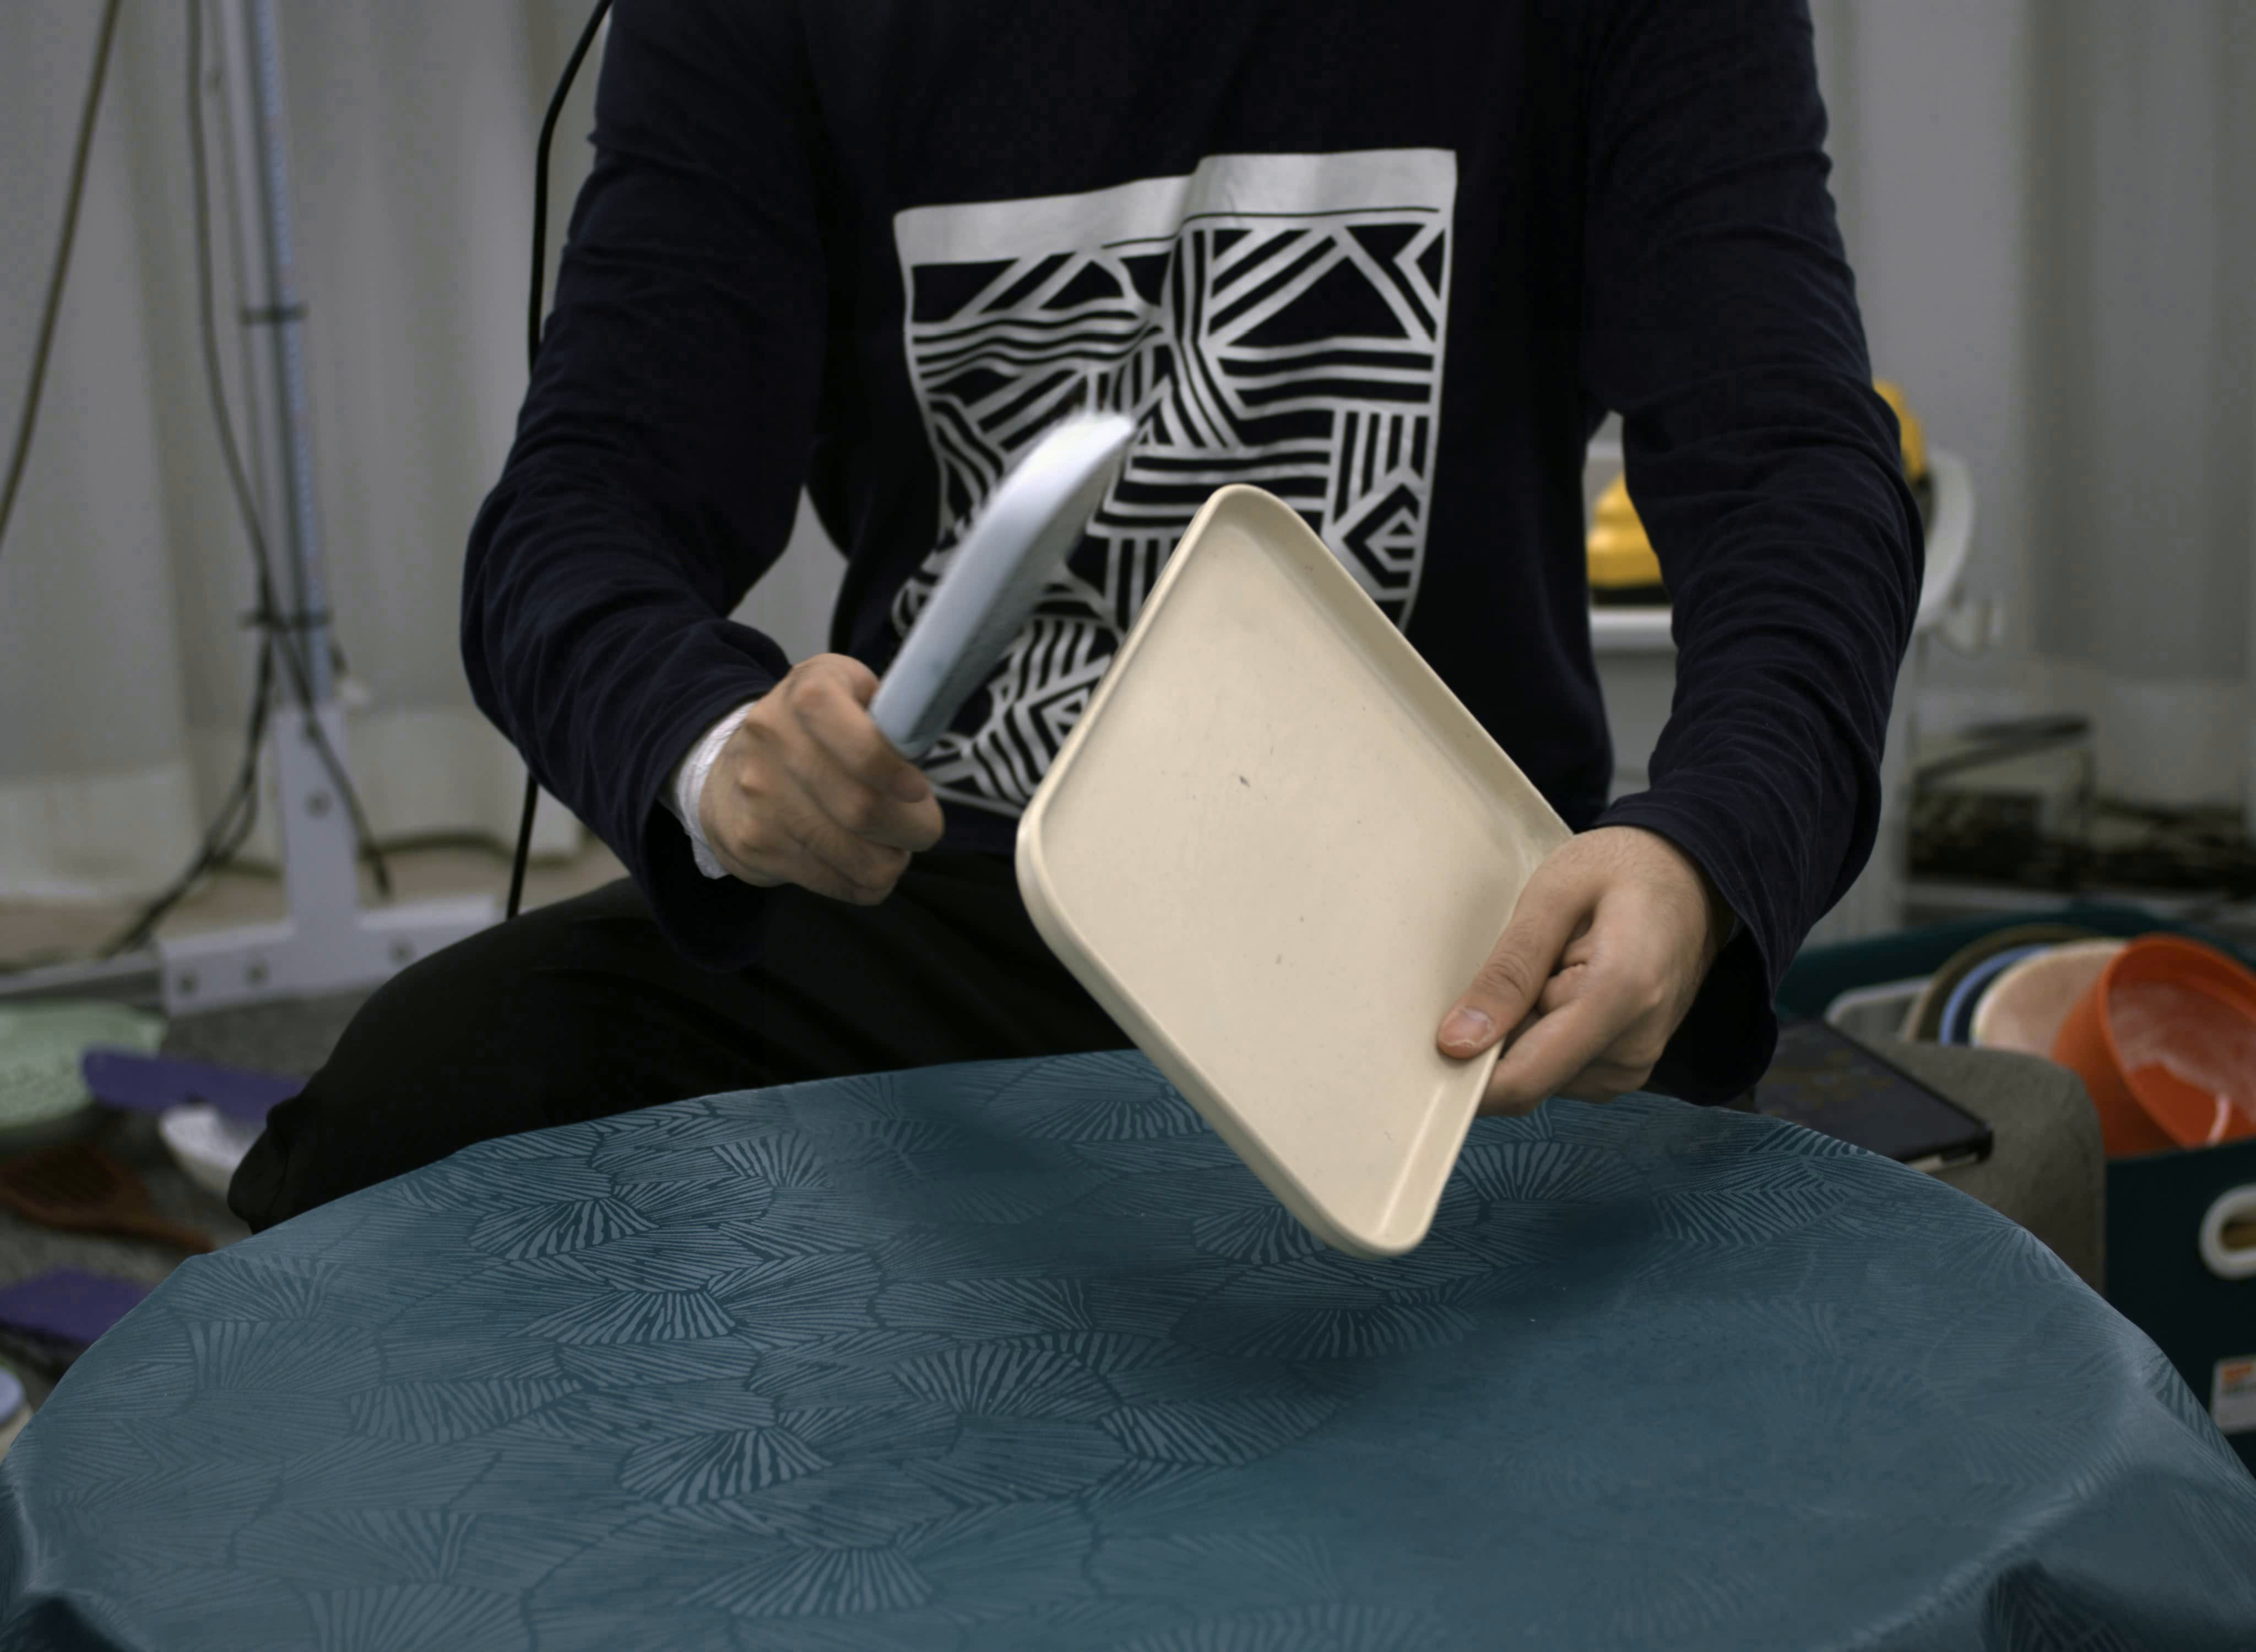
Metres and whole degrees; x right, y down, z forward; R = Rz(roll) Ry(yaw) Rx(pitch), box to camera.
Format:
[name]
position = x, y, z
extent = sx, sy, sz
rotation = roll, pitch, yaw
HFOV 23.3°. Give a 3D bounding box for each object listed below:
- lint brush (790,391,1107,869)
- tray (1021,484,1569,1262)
[lint brush]
position = -0.060, -0.052, 1.656
extent = 0.060, 0.021, 0.306
rotation = -52, -1, -27
[tray]
position = 0.051, 0.011, 1.601
extent = 0.017, 0.170, 0.242
rotation = -35, 16, 33
